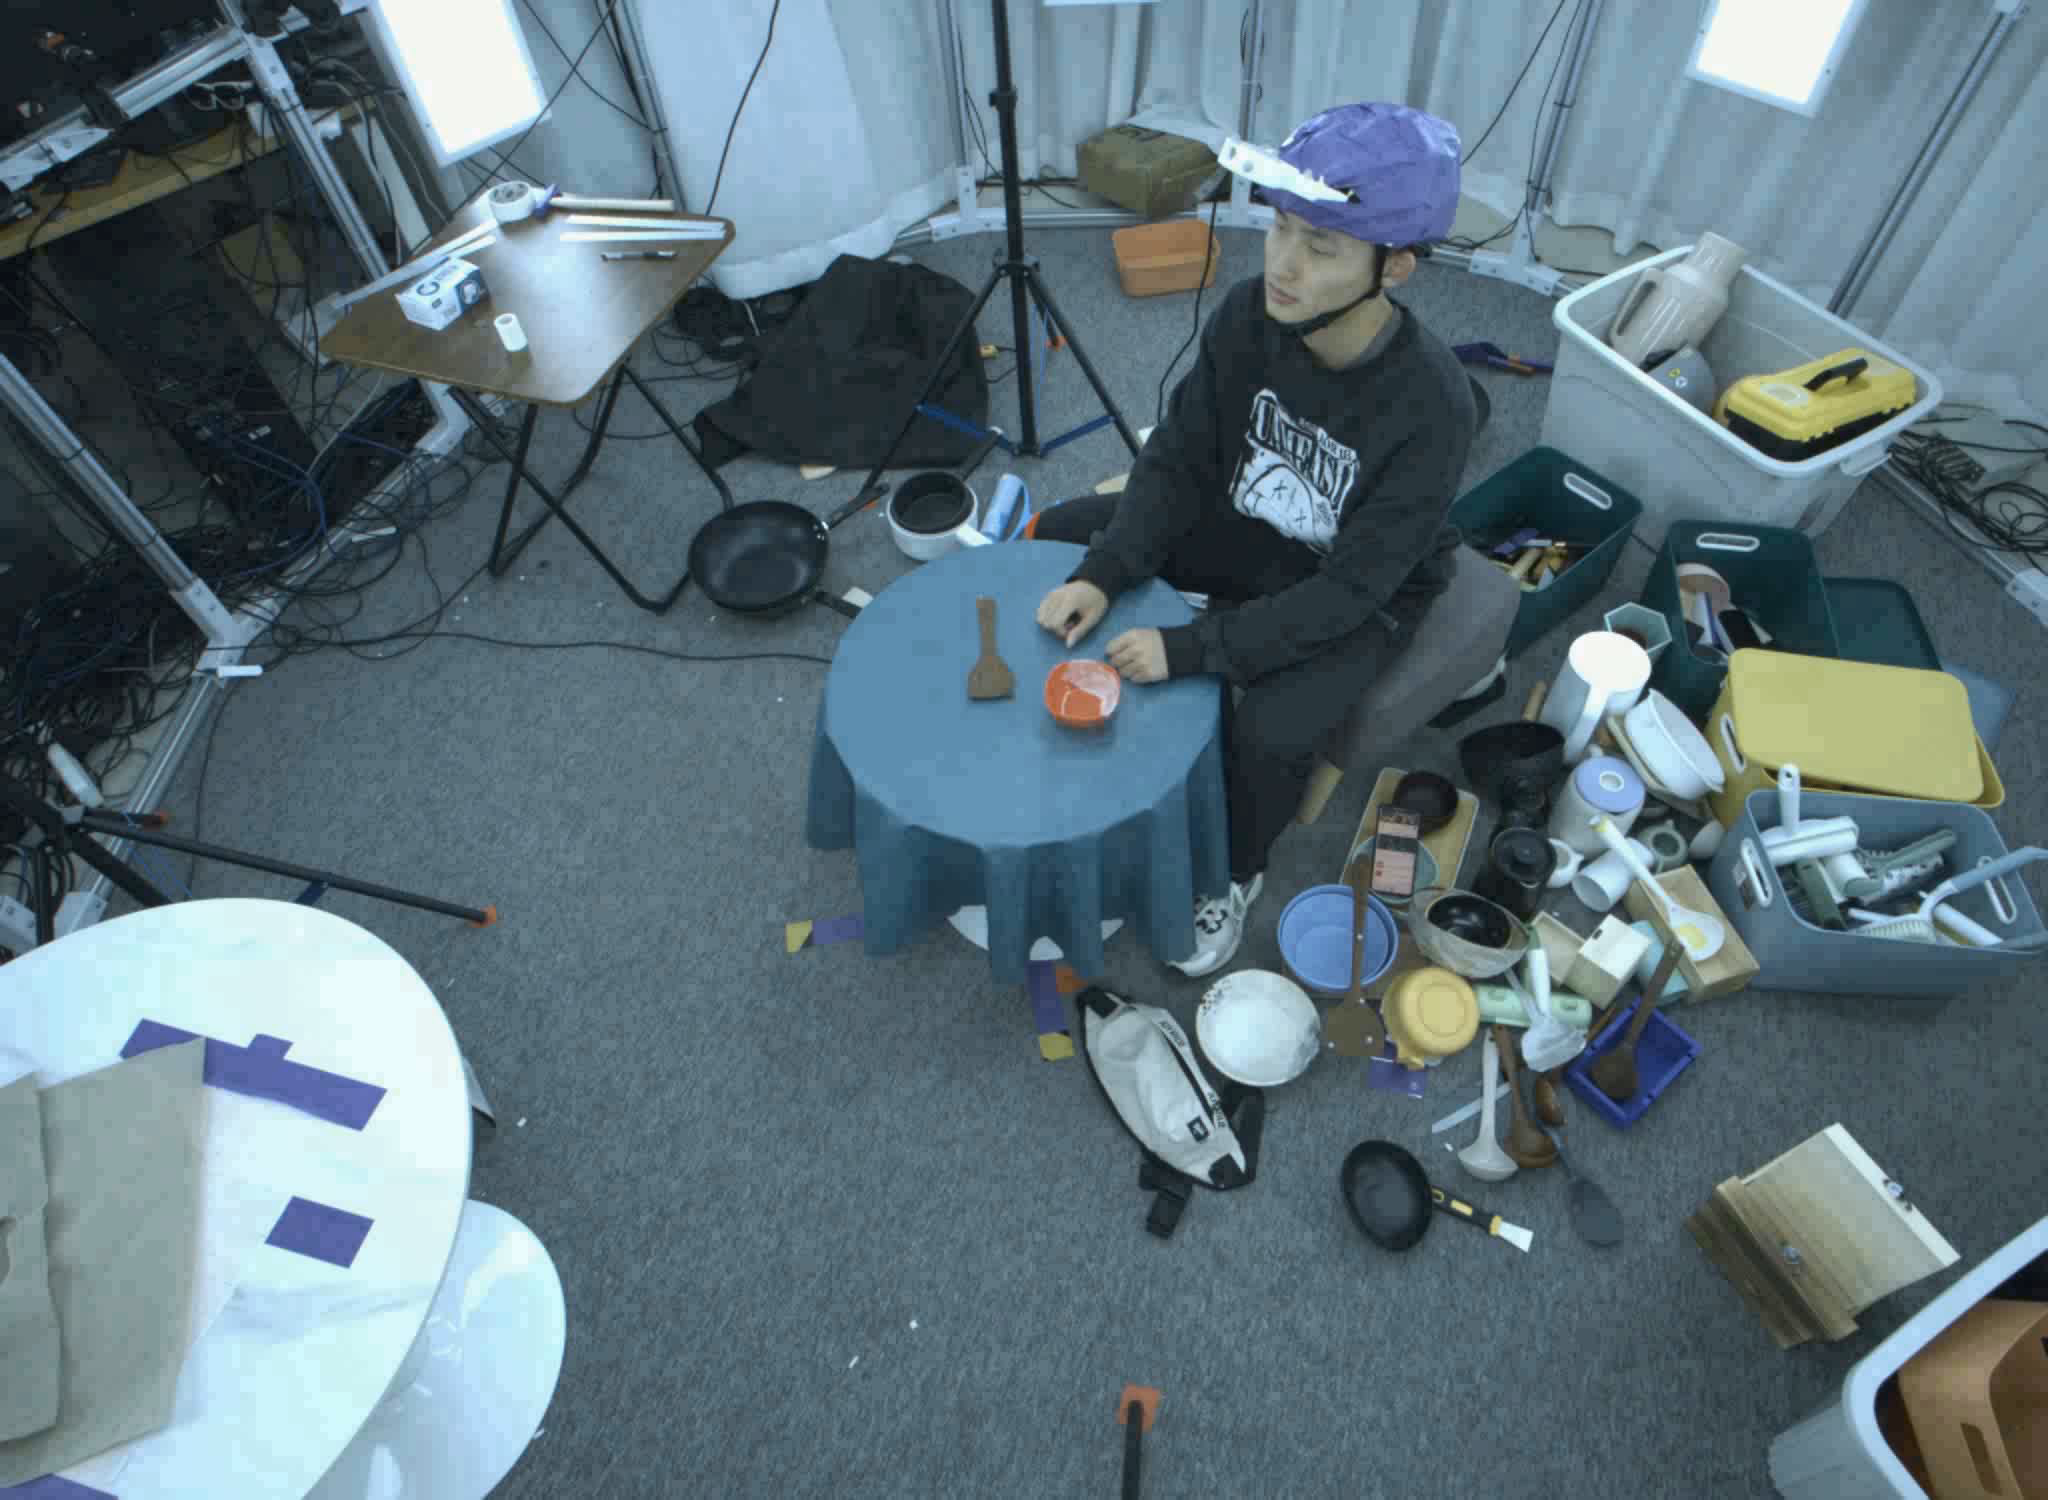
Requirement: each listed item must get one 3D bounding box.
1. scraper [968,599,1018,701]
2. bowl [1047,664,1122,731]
[{"bbox_3d":[-0.053,-0.156,1.904,0.076,0.011,0.208,-3,54,-2],"label":"scraper"},{"bbox_3d":[0.090,-0.069,1.814,0.119,0.052,0.117,-1,55,3],"label":"bowl"}]
